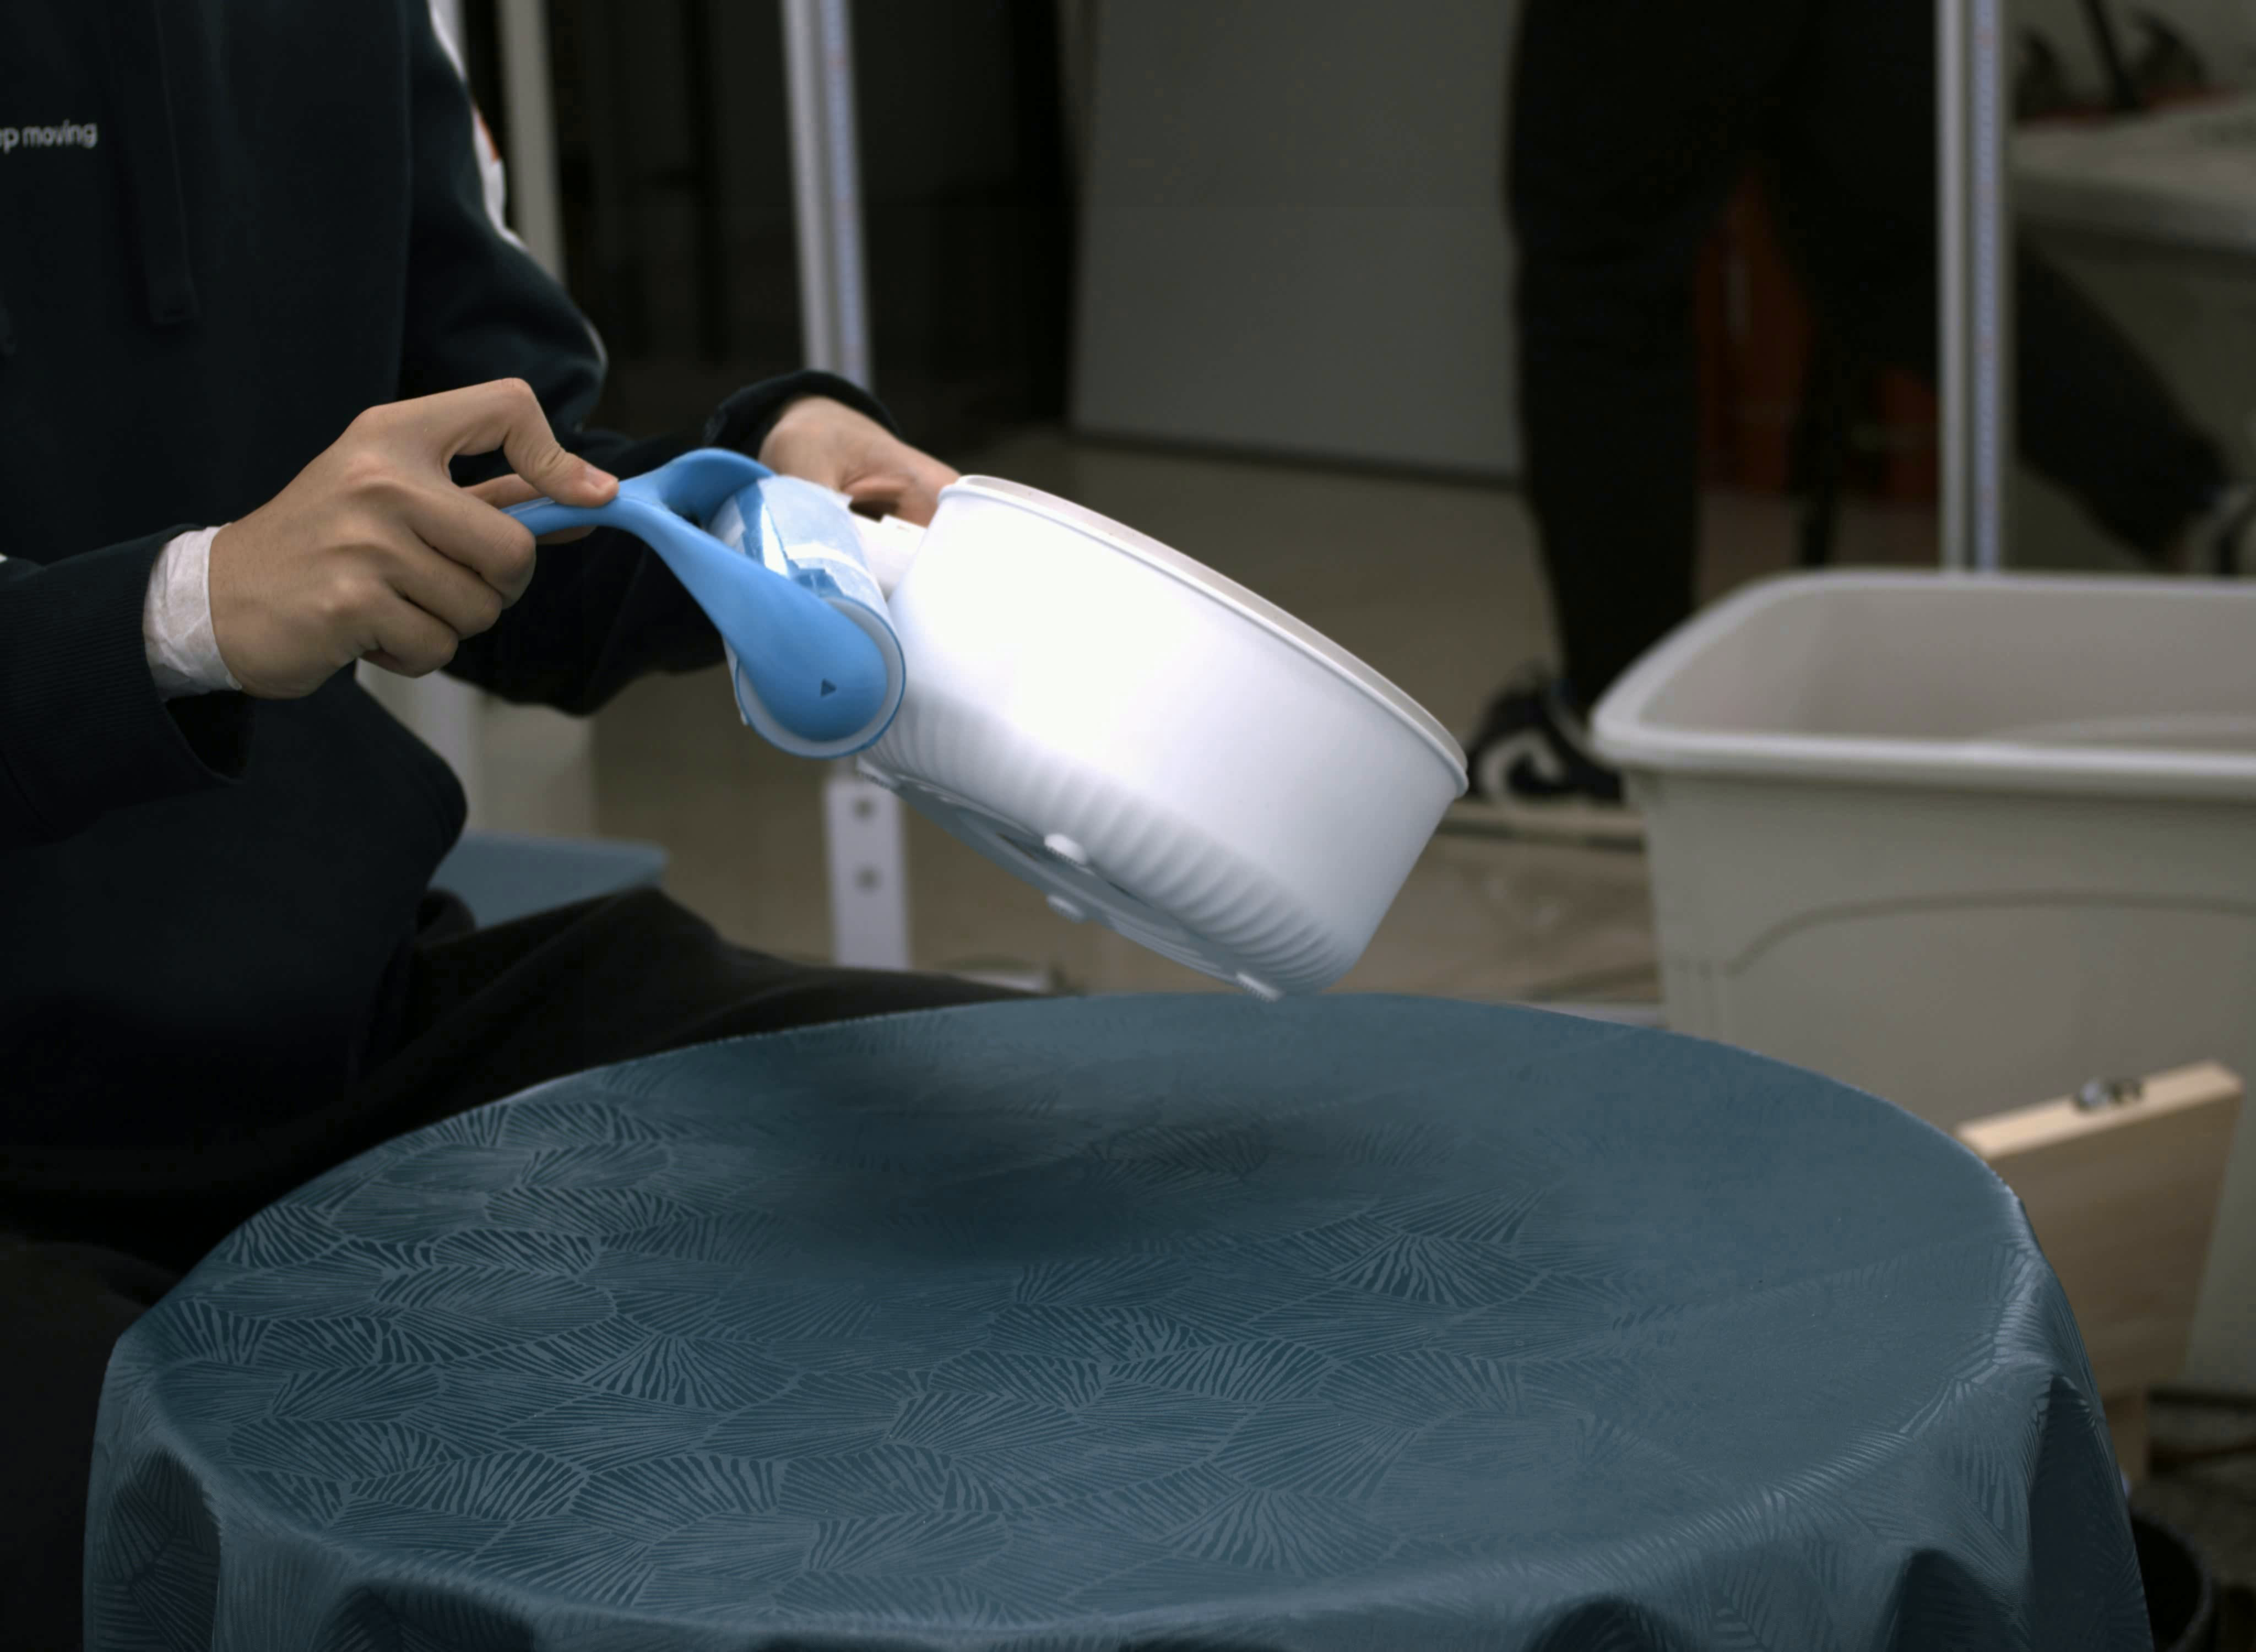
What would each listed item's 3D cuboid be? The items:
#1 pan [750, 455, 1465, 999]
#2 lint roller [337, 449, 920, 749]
[{"bbox_3d":[-0.043,-0.043,1.836,0.198,0.102,0.358,38,-11,-39],"label":"pan"},{"bbox_3d":[-0.160,-0.077,1.733,0.177,0.069,0.230,5,13,-11],"label":"lint roller"}]
